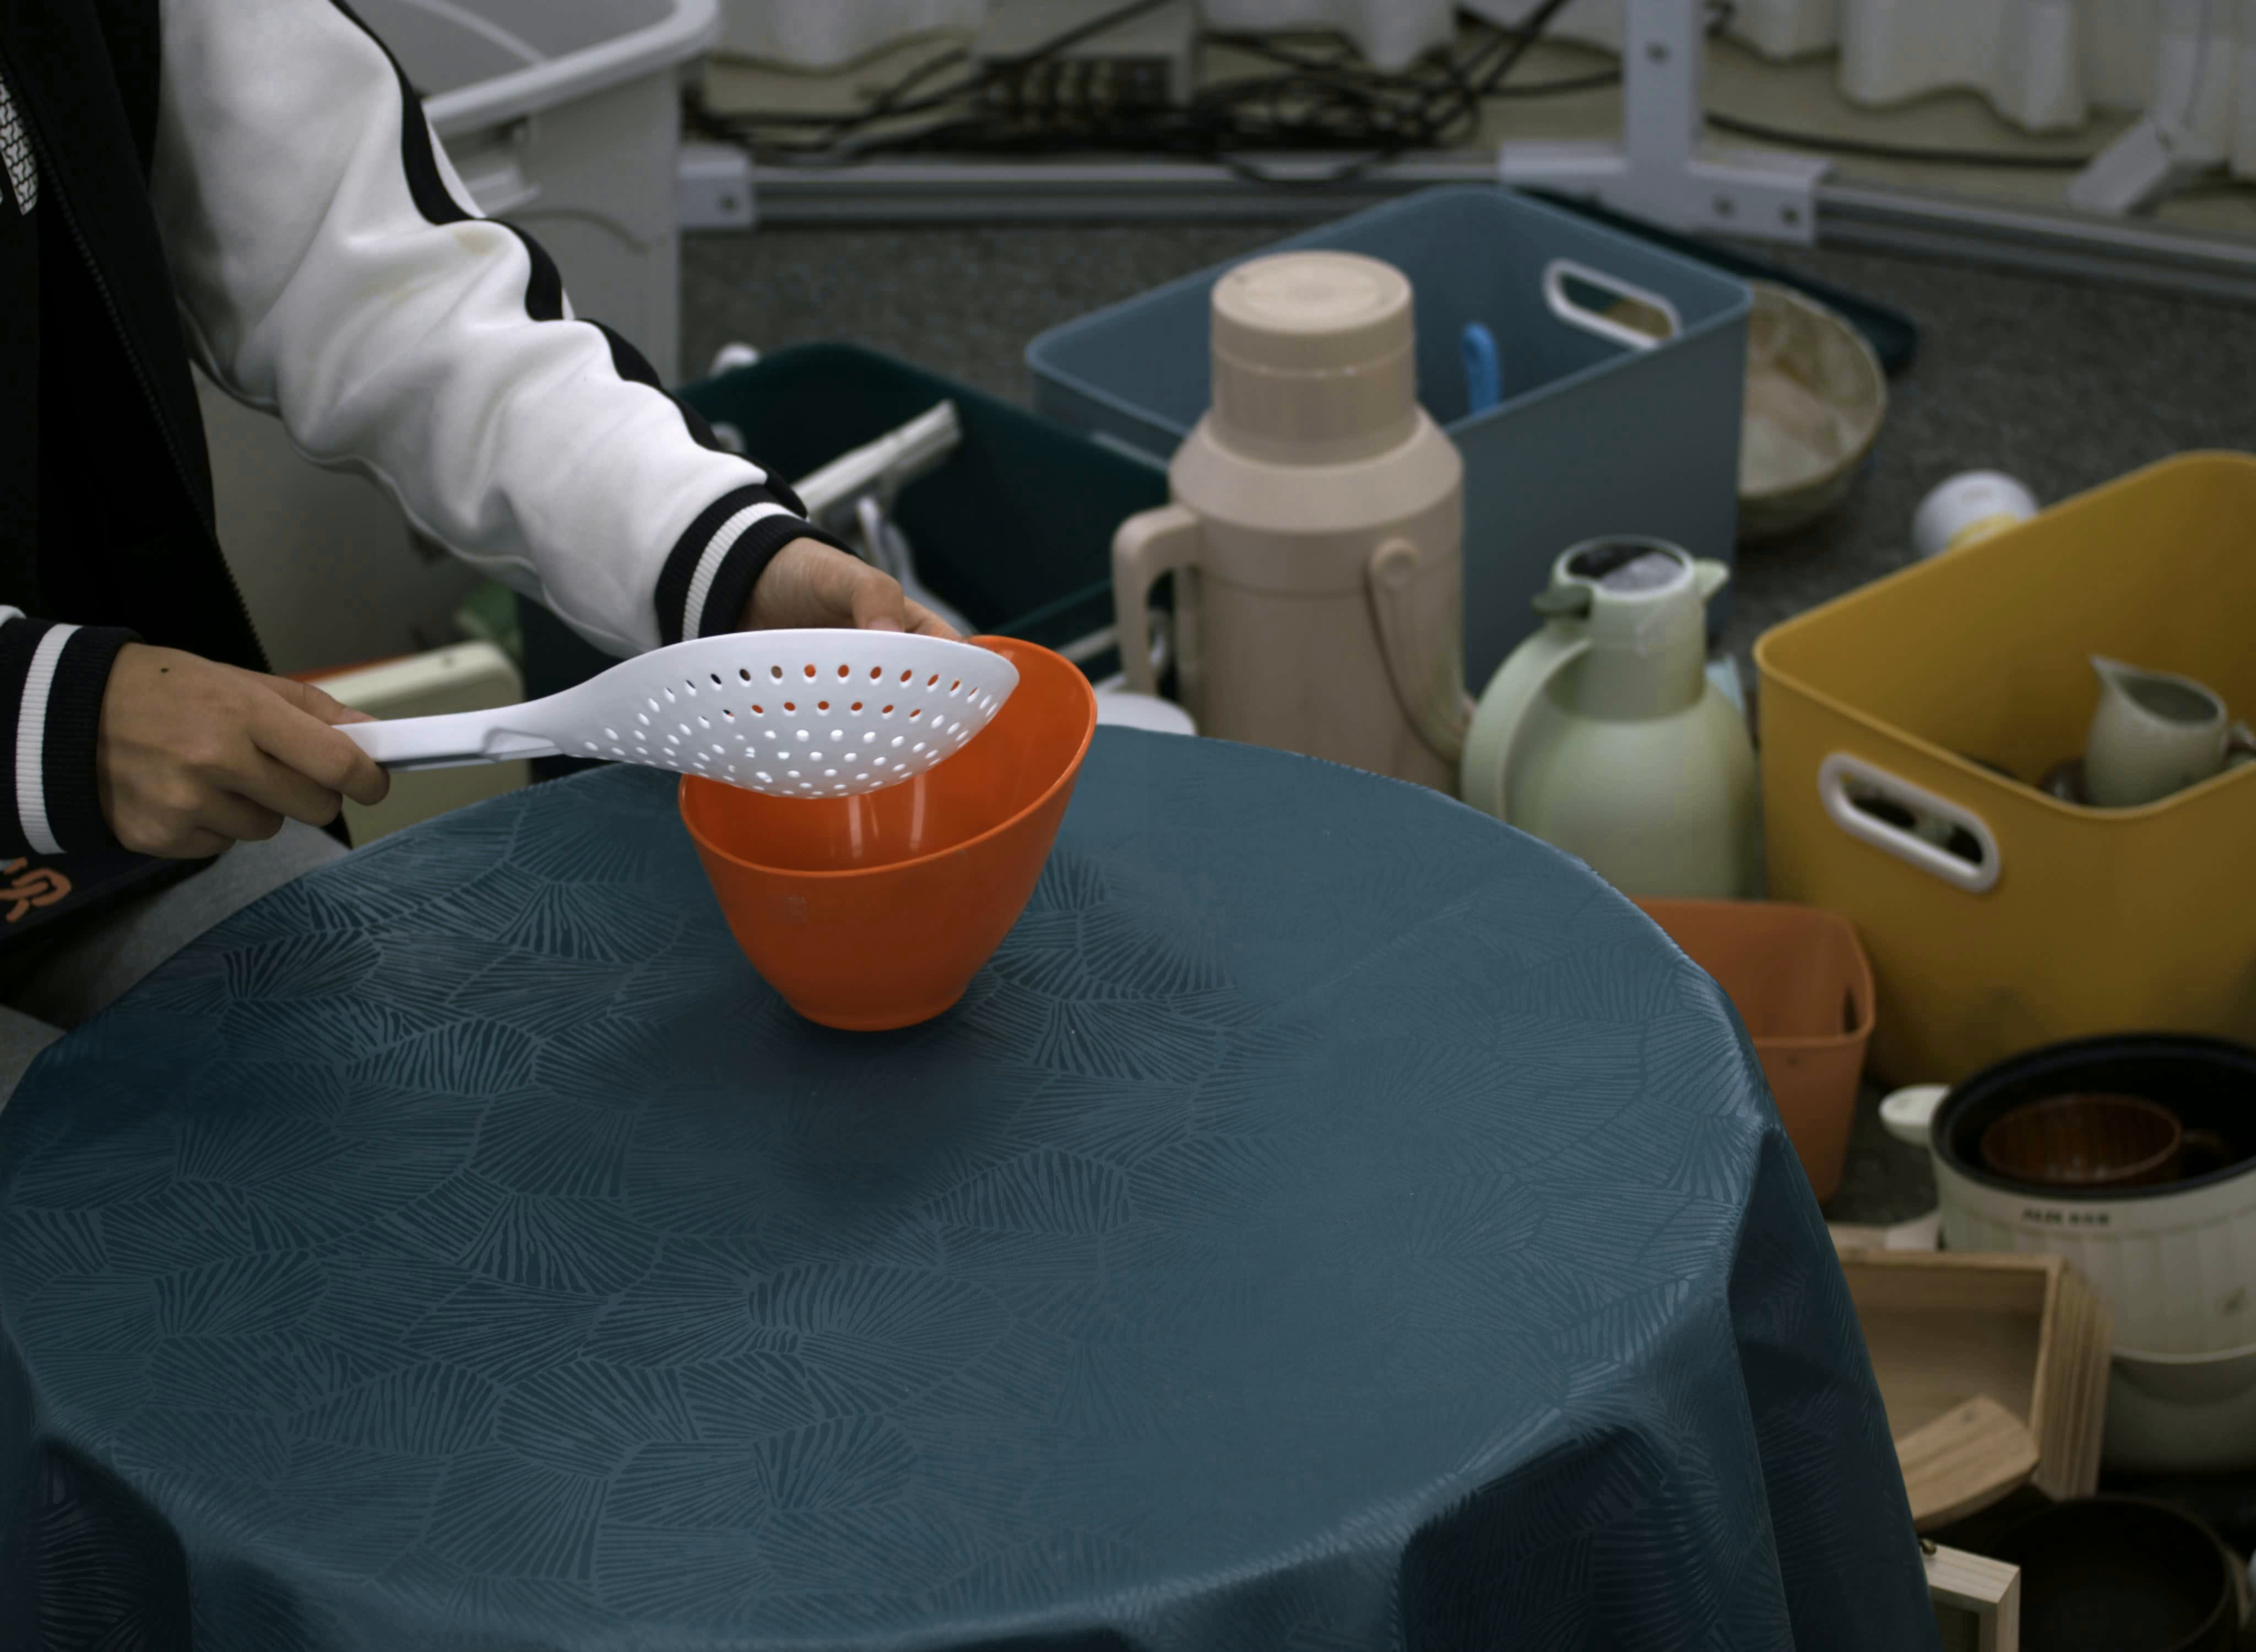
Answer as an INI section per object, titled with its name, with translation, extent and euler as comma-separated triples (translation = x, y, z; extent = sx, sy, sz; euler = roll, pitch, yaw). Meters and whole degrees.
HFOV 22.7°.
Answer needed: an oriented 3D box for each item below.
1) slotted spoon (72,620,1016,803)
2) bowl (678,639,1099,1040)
[slotted spoon]
translation = -0.205, -0.033, 1.928
extent = 0.347, 0.046, 0.135
euler = -1, -13, 20
[bowl]
translation = -0.080, 0.012, 1.956
extent = 0.147, 0.103, 0.150
euler = -2, 31, 2
